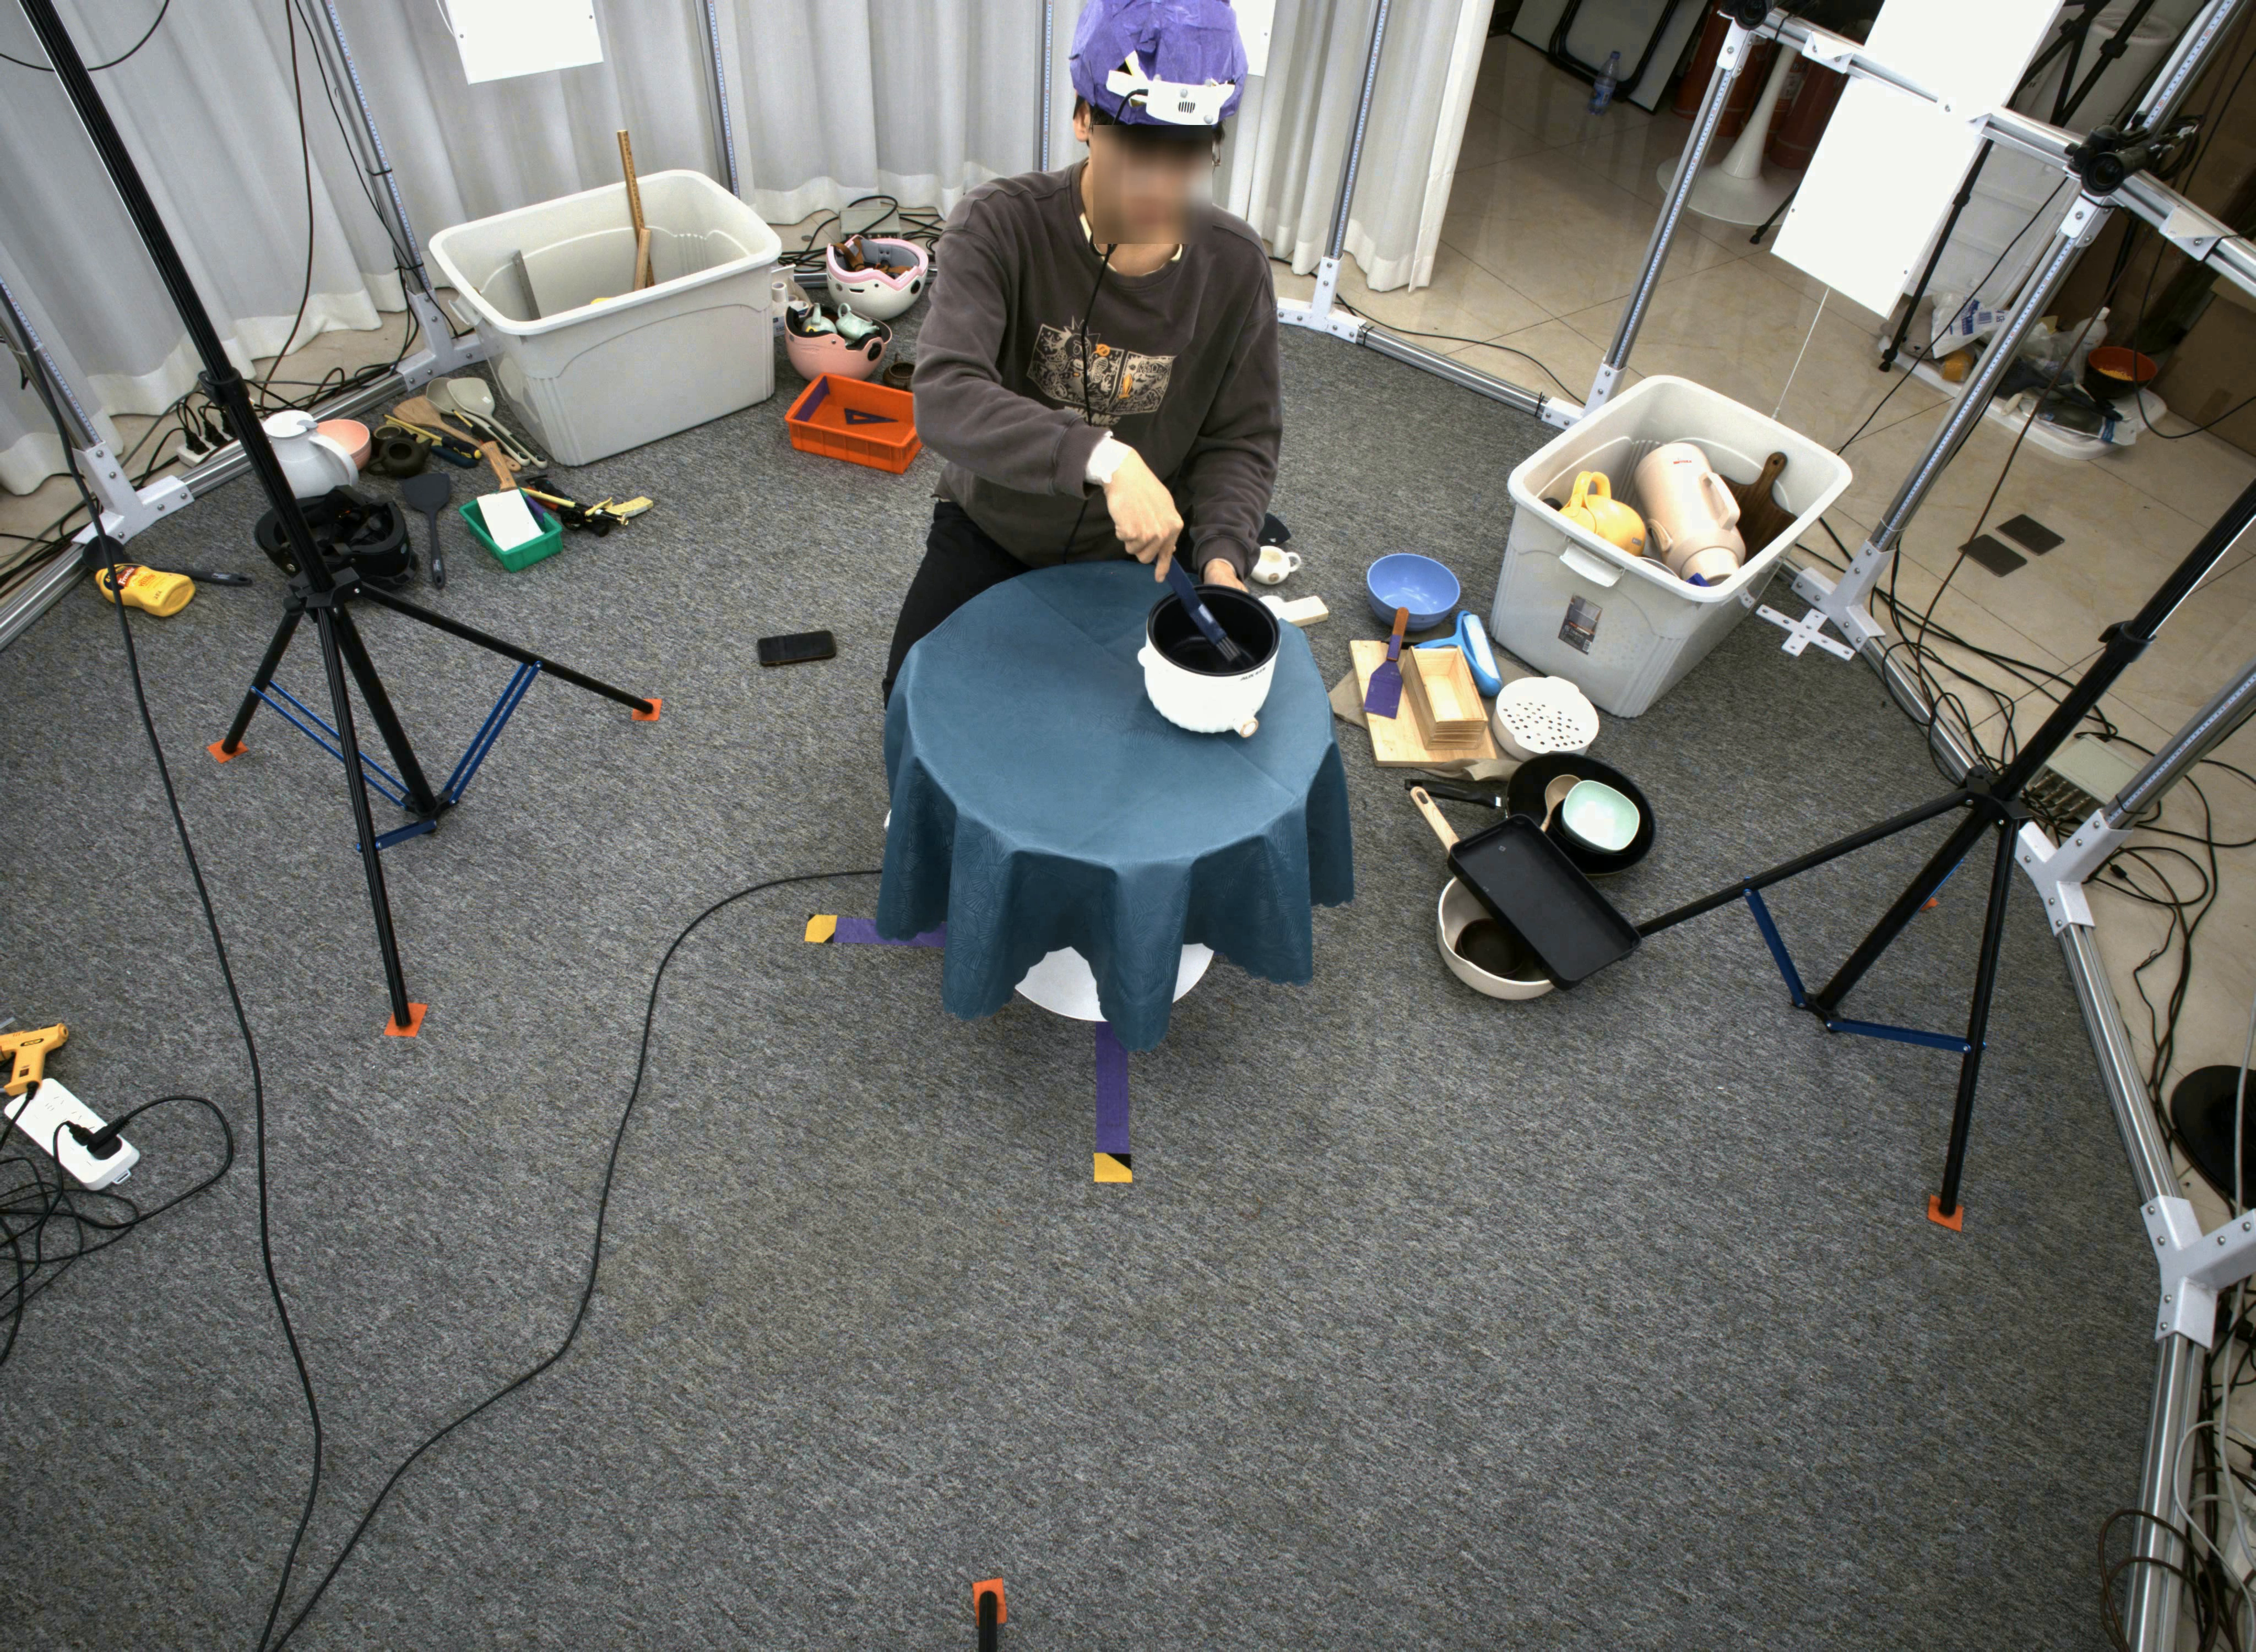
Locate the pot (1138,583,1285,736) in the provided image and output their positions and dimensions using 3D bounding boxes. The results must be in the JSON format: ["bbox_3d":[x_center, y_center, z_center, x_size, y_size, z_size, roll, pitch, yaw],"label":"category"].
[{"bbox_3d":[0.118,-0.222,1.776,0.241,0.139,0.194,-27,52,-22],"label":"pot"}]

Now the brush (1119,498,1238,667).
[{"bbox_3d":[0.071,-0.318,1.700,0.033,0.267,0.098,-38,49,2],"label":"brush"}]
